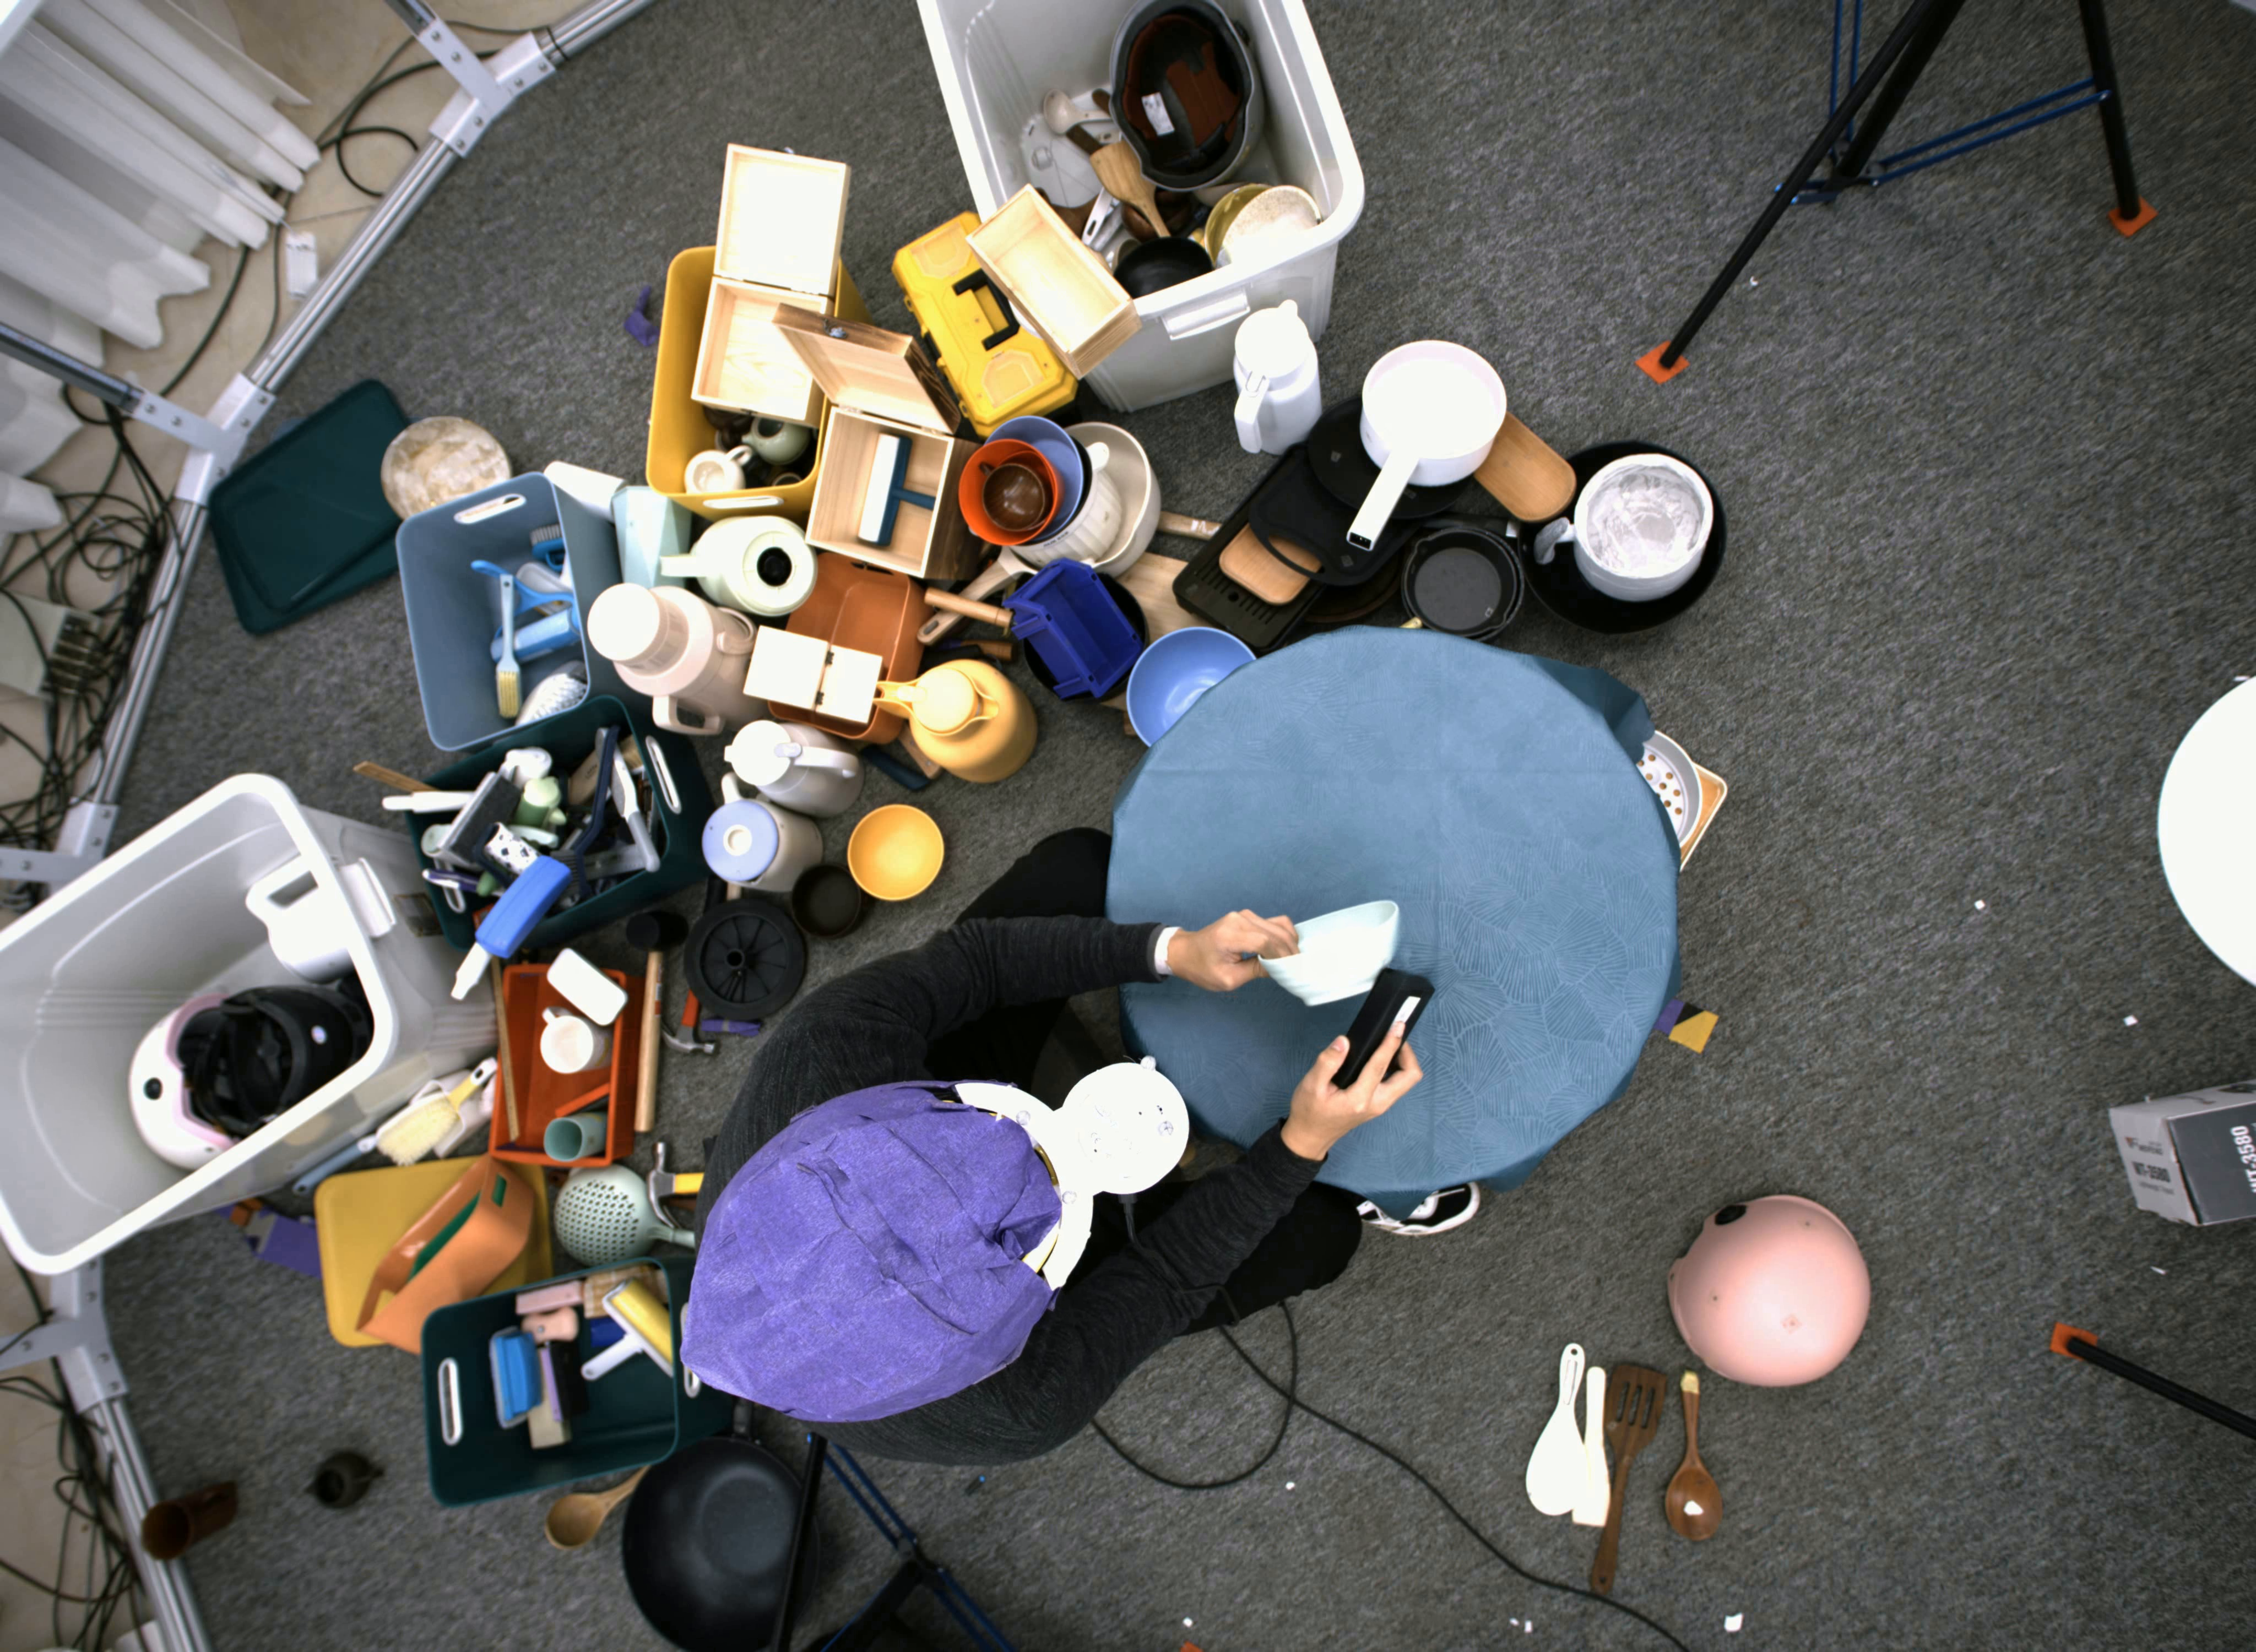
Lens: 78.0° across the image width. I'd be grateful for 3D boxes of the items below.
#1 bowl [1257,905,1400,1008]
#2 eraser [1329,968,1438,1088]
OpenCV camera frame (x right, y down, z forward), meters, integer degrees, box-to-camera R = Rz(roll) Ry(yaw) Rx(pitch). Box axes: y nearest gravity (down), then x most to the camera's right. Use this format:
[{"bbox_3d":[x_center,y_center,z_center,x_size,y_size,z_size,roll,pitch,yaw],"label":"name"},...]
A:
[{"bbox_3d":[0.198,0.127,1.317,0.152,0.150,0.059,-17,97,8],"label":"bowl"},{"bbox_3d":[0.238,0.189,1.295,0.030,0.053,0.128,57,132,48],"label":"eraser"}]
